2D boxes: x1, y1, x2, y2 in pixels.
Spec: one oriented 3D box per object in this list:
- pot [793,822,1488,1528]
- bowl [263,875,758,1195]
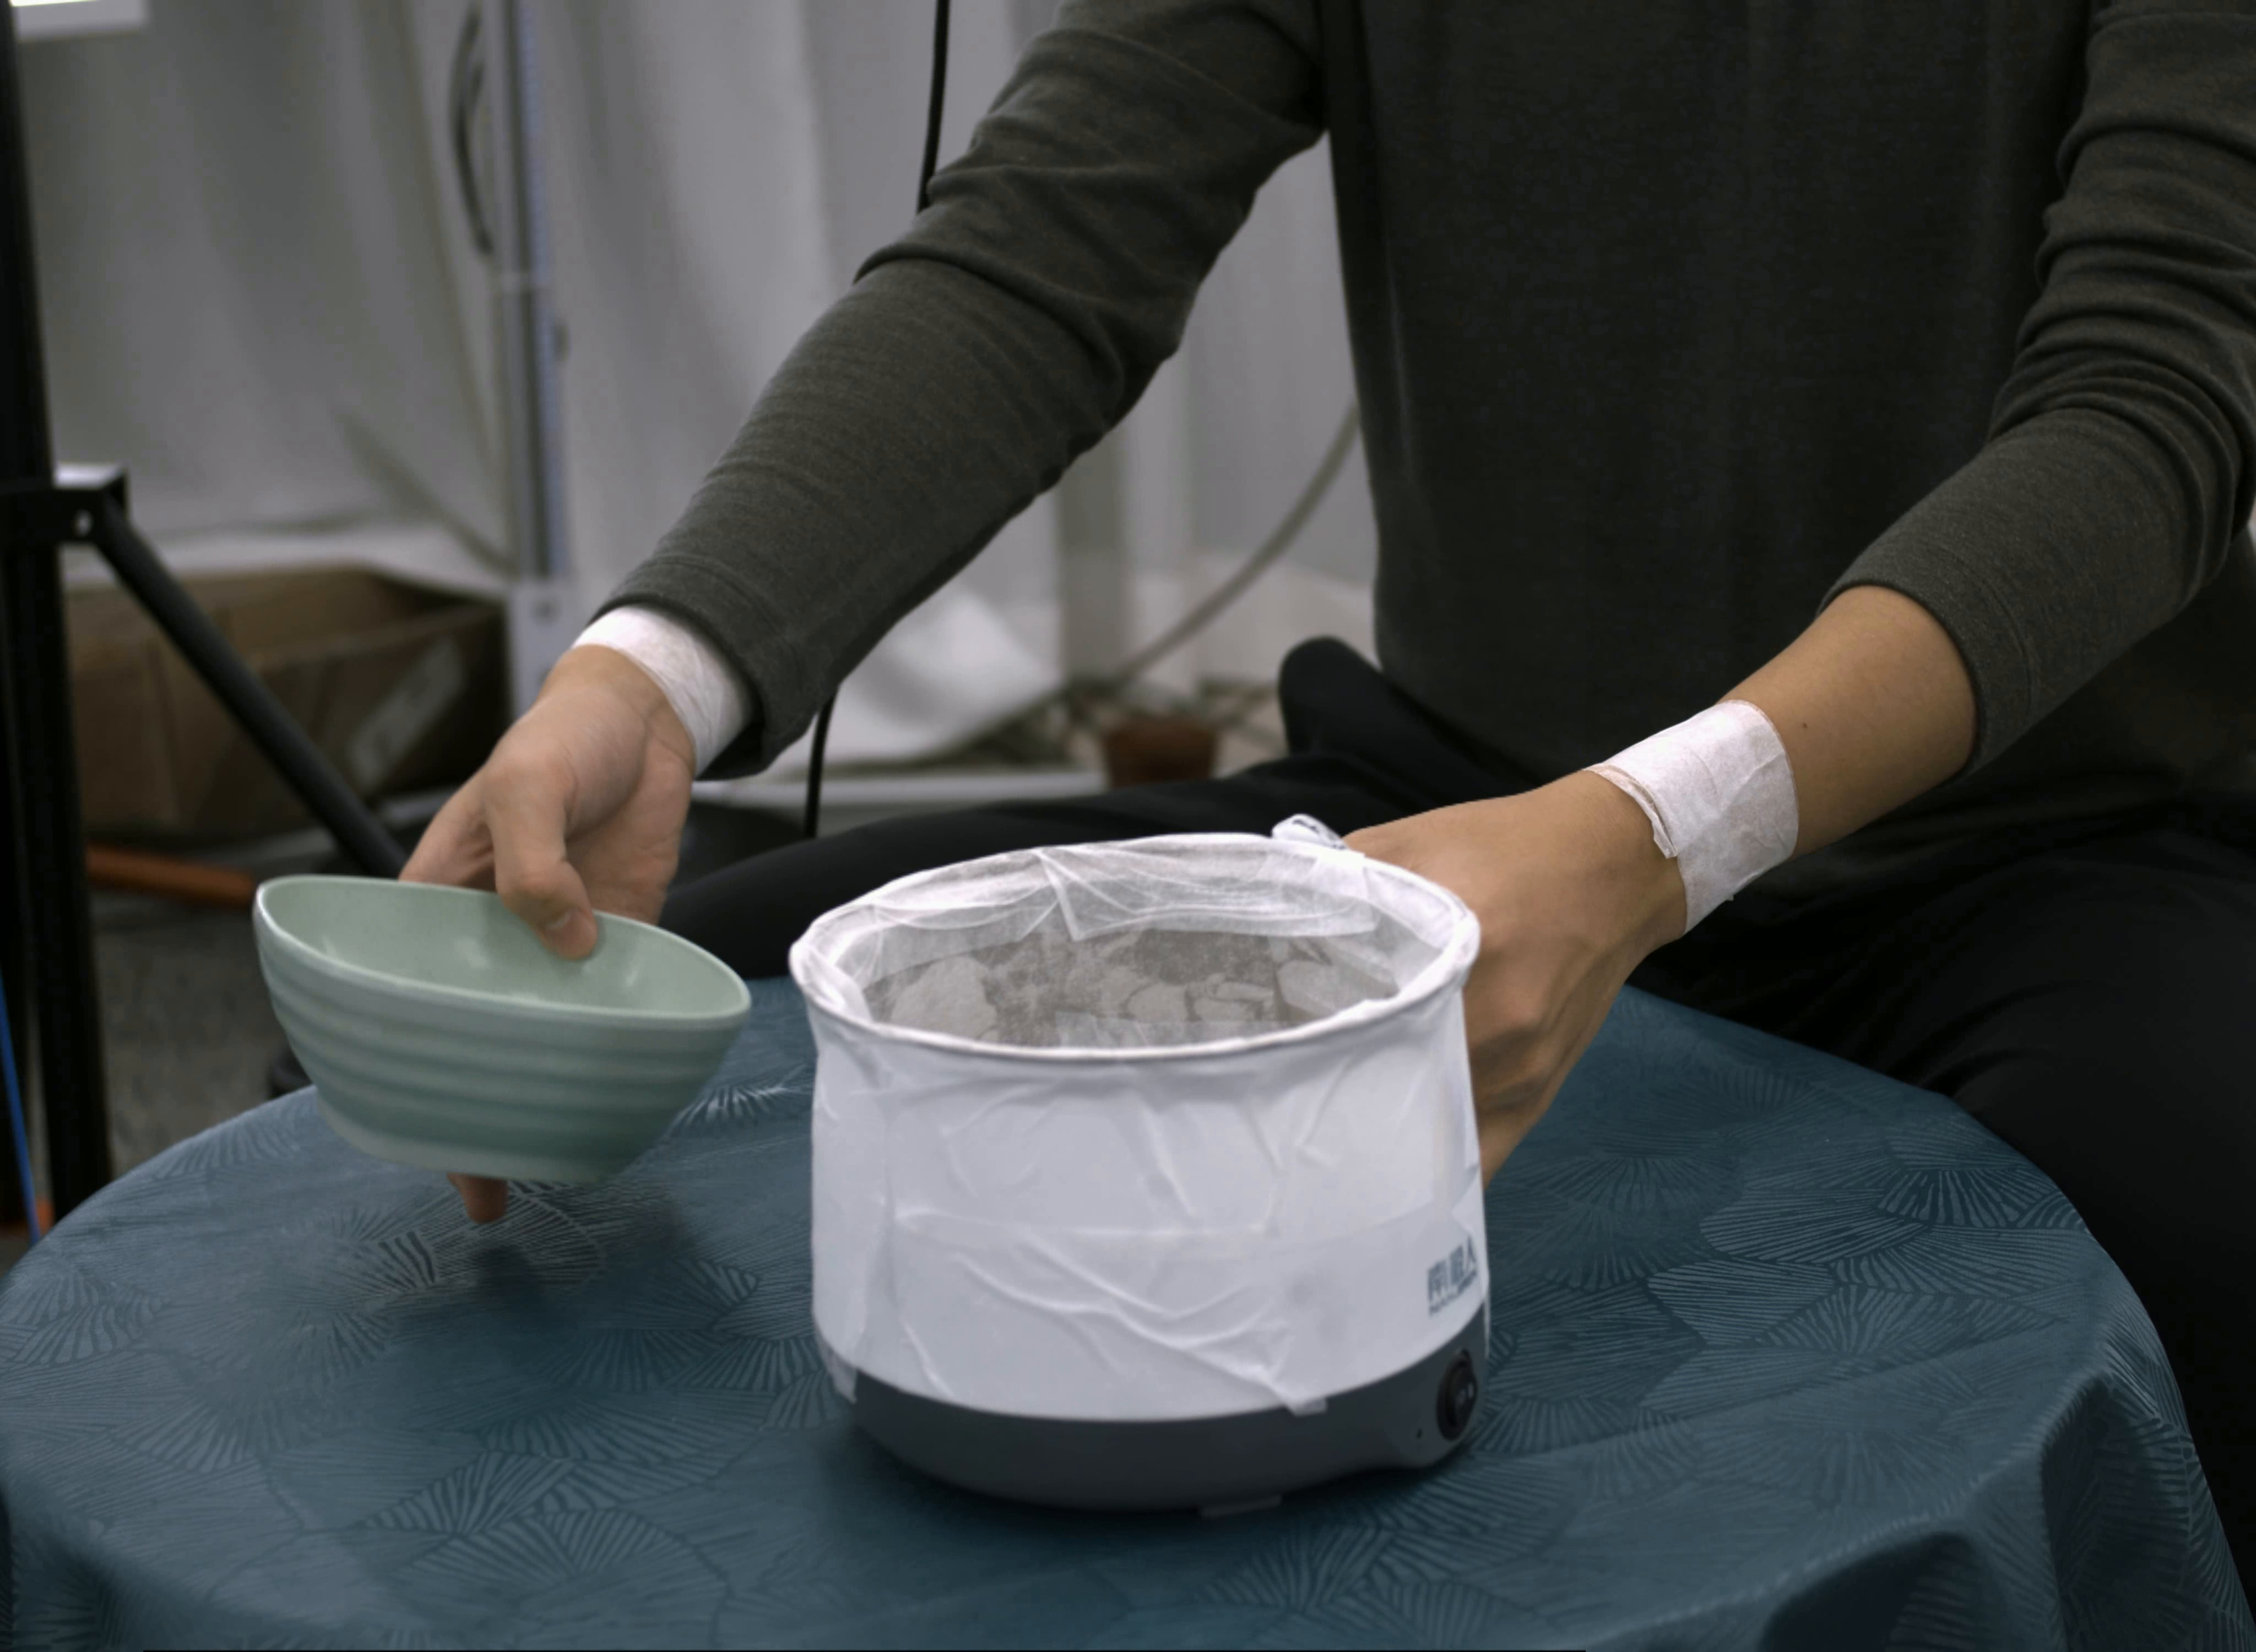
[{"bbox_3d":[0.017,0.084,1.393,0.181,0.136,0.230,6,18,27],"label":"pot"},{"bbox_3d":[-0.179,0.063,1.510,0.150,0.059,0.152,11,12,-4],"label":"bowl"}]
